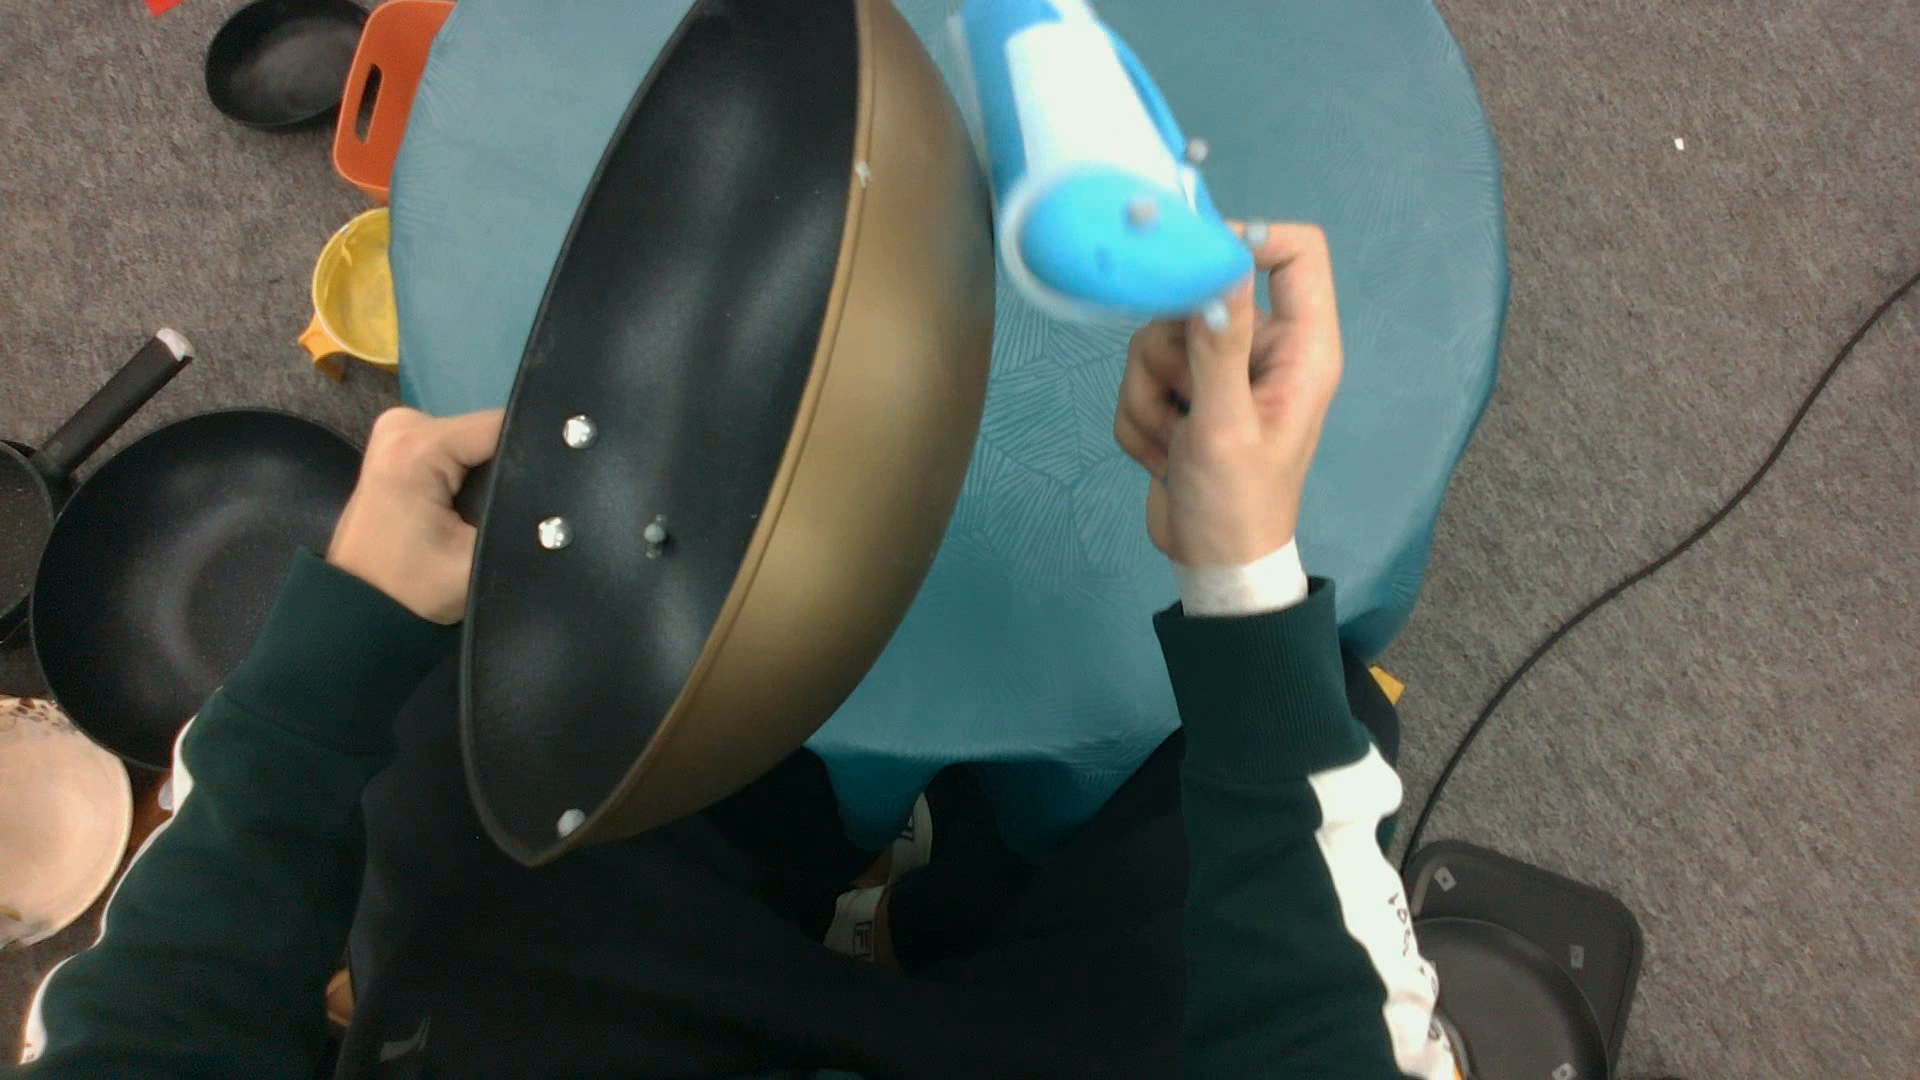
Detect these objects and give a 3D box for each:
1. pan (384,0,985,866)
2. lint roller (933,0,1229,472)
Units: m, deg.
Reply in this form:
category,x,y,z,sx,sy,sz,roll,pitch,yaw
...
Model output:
category,x,y,z,sx,sy,sz,roll,pitch,yaw
pan,-0.124,-0.024,0.507,0.087,0.461,0.289,17,71,-31
lint roller,0.054,-0.105,0.480,0.068,0.180,0.230,-28,35,13
